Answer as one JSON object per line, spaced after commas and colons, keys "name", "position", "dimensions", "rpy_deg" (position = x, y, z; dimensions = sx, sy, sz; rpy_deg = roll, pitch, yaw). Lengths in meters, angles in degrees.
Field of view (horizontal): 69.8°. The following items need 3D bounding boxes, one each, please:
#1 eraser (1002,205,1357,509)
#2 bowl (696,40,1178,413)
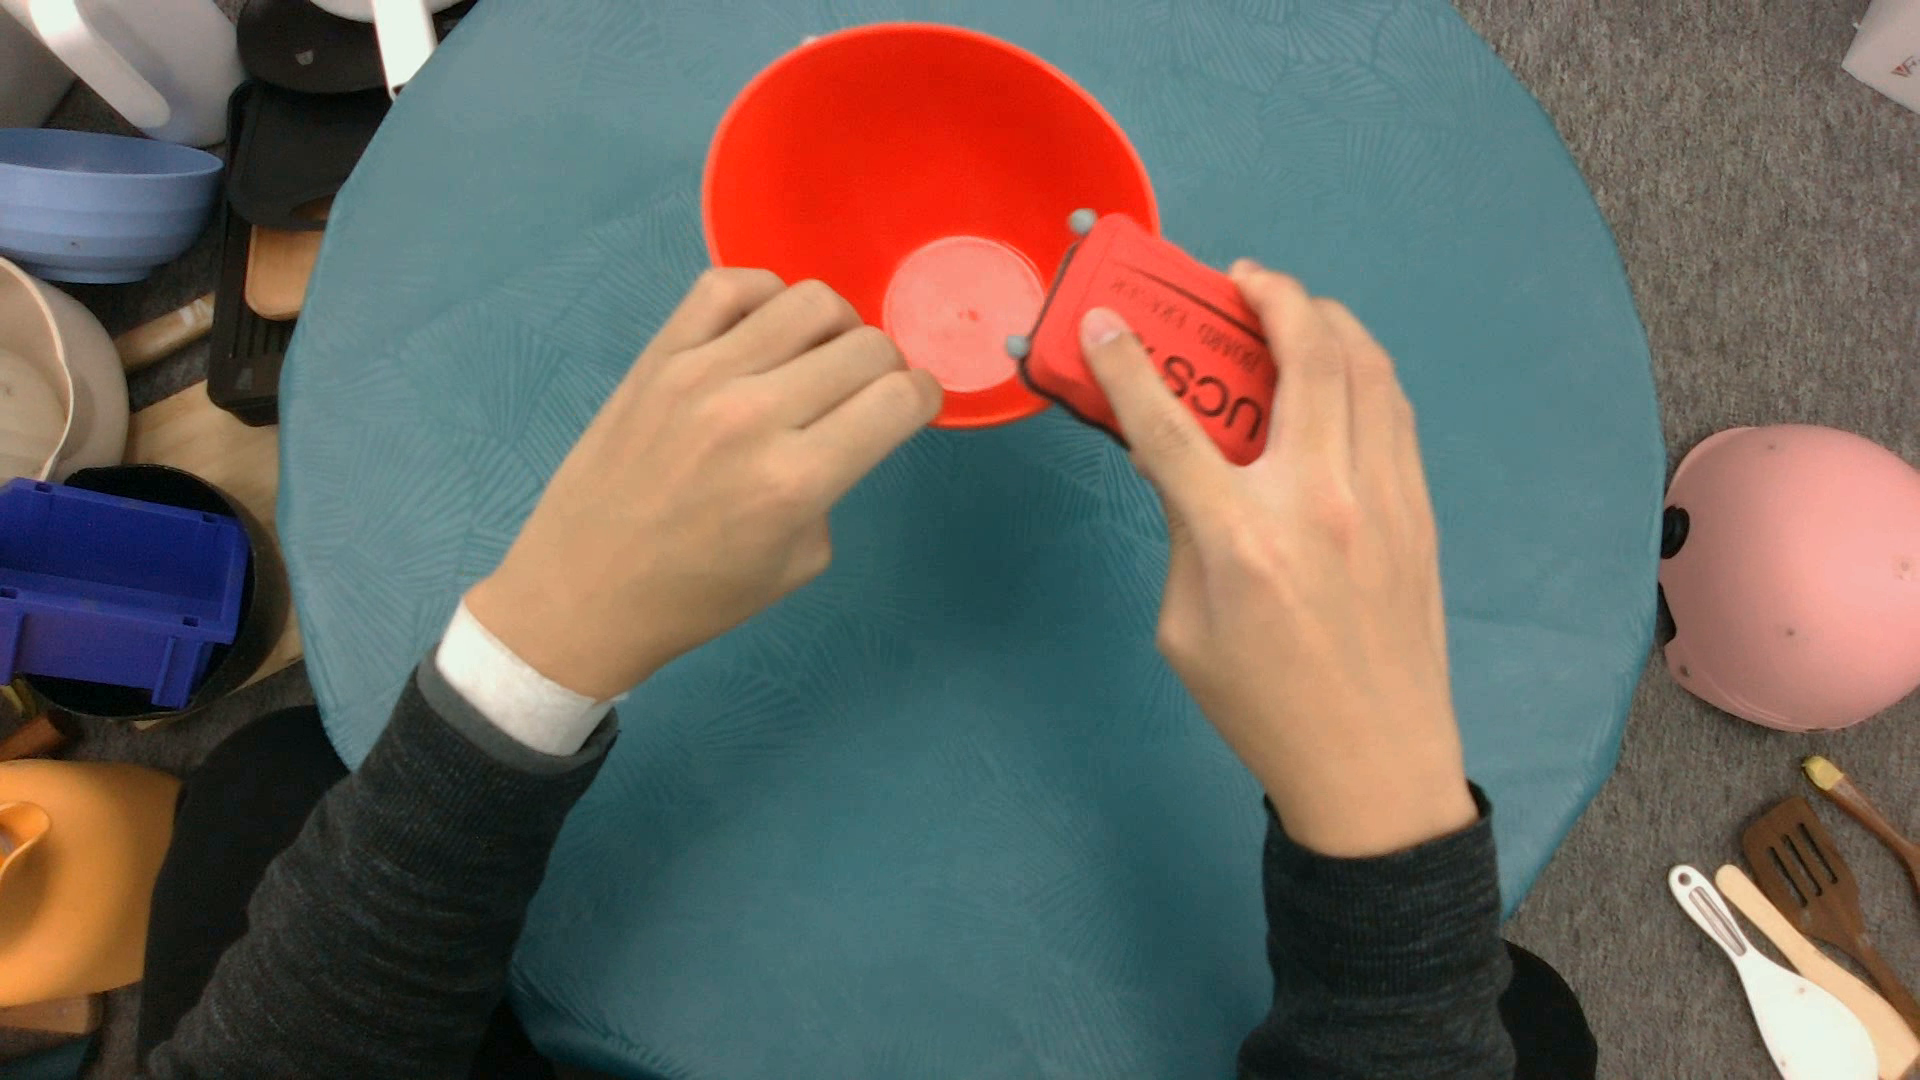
{"name": "eraser", "position": [0.070, -0.056, 0.434], "dimensions": [0.108, 0.023, 0.059], "rpy_deg": [26, 72, -13]}
{"name": "bowl", "position": [-0.005, -0.097, 0.453], "dimensions": [0.148, 0.104, 0.148], "rpy_deg": [-1, 46, 1]}
